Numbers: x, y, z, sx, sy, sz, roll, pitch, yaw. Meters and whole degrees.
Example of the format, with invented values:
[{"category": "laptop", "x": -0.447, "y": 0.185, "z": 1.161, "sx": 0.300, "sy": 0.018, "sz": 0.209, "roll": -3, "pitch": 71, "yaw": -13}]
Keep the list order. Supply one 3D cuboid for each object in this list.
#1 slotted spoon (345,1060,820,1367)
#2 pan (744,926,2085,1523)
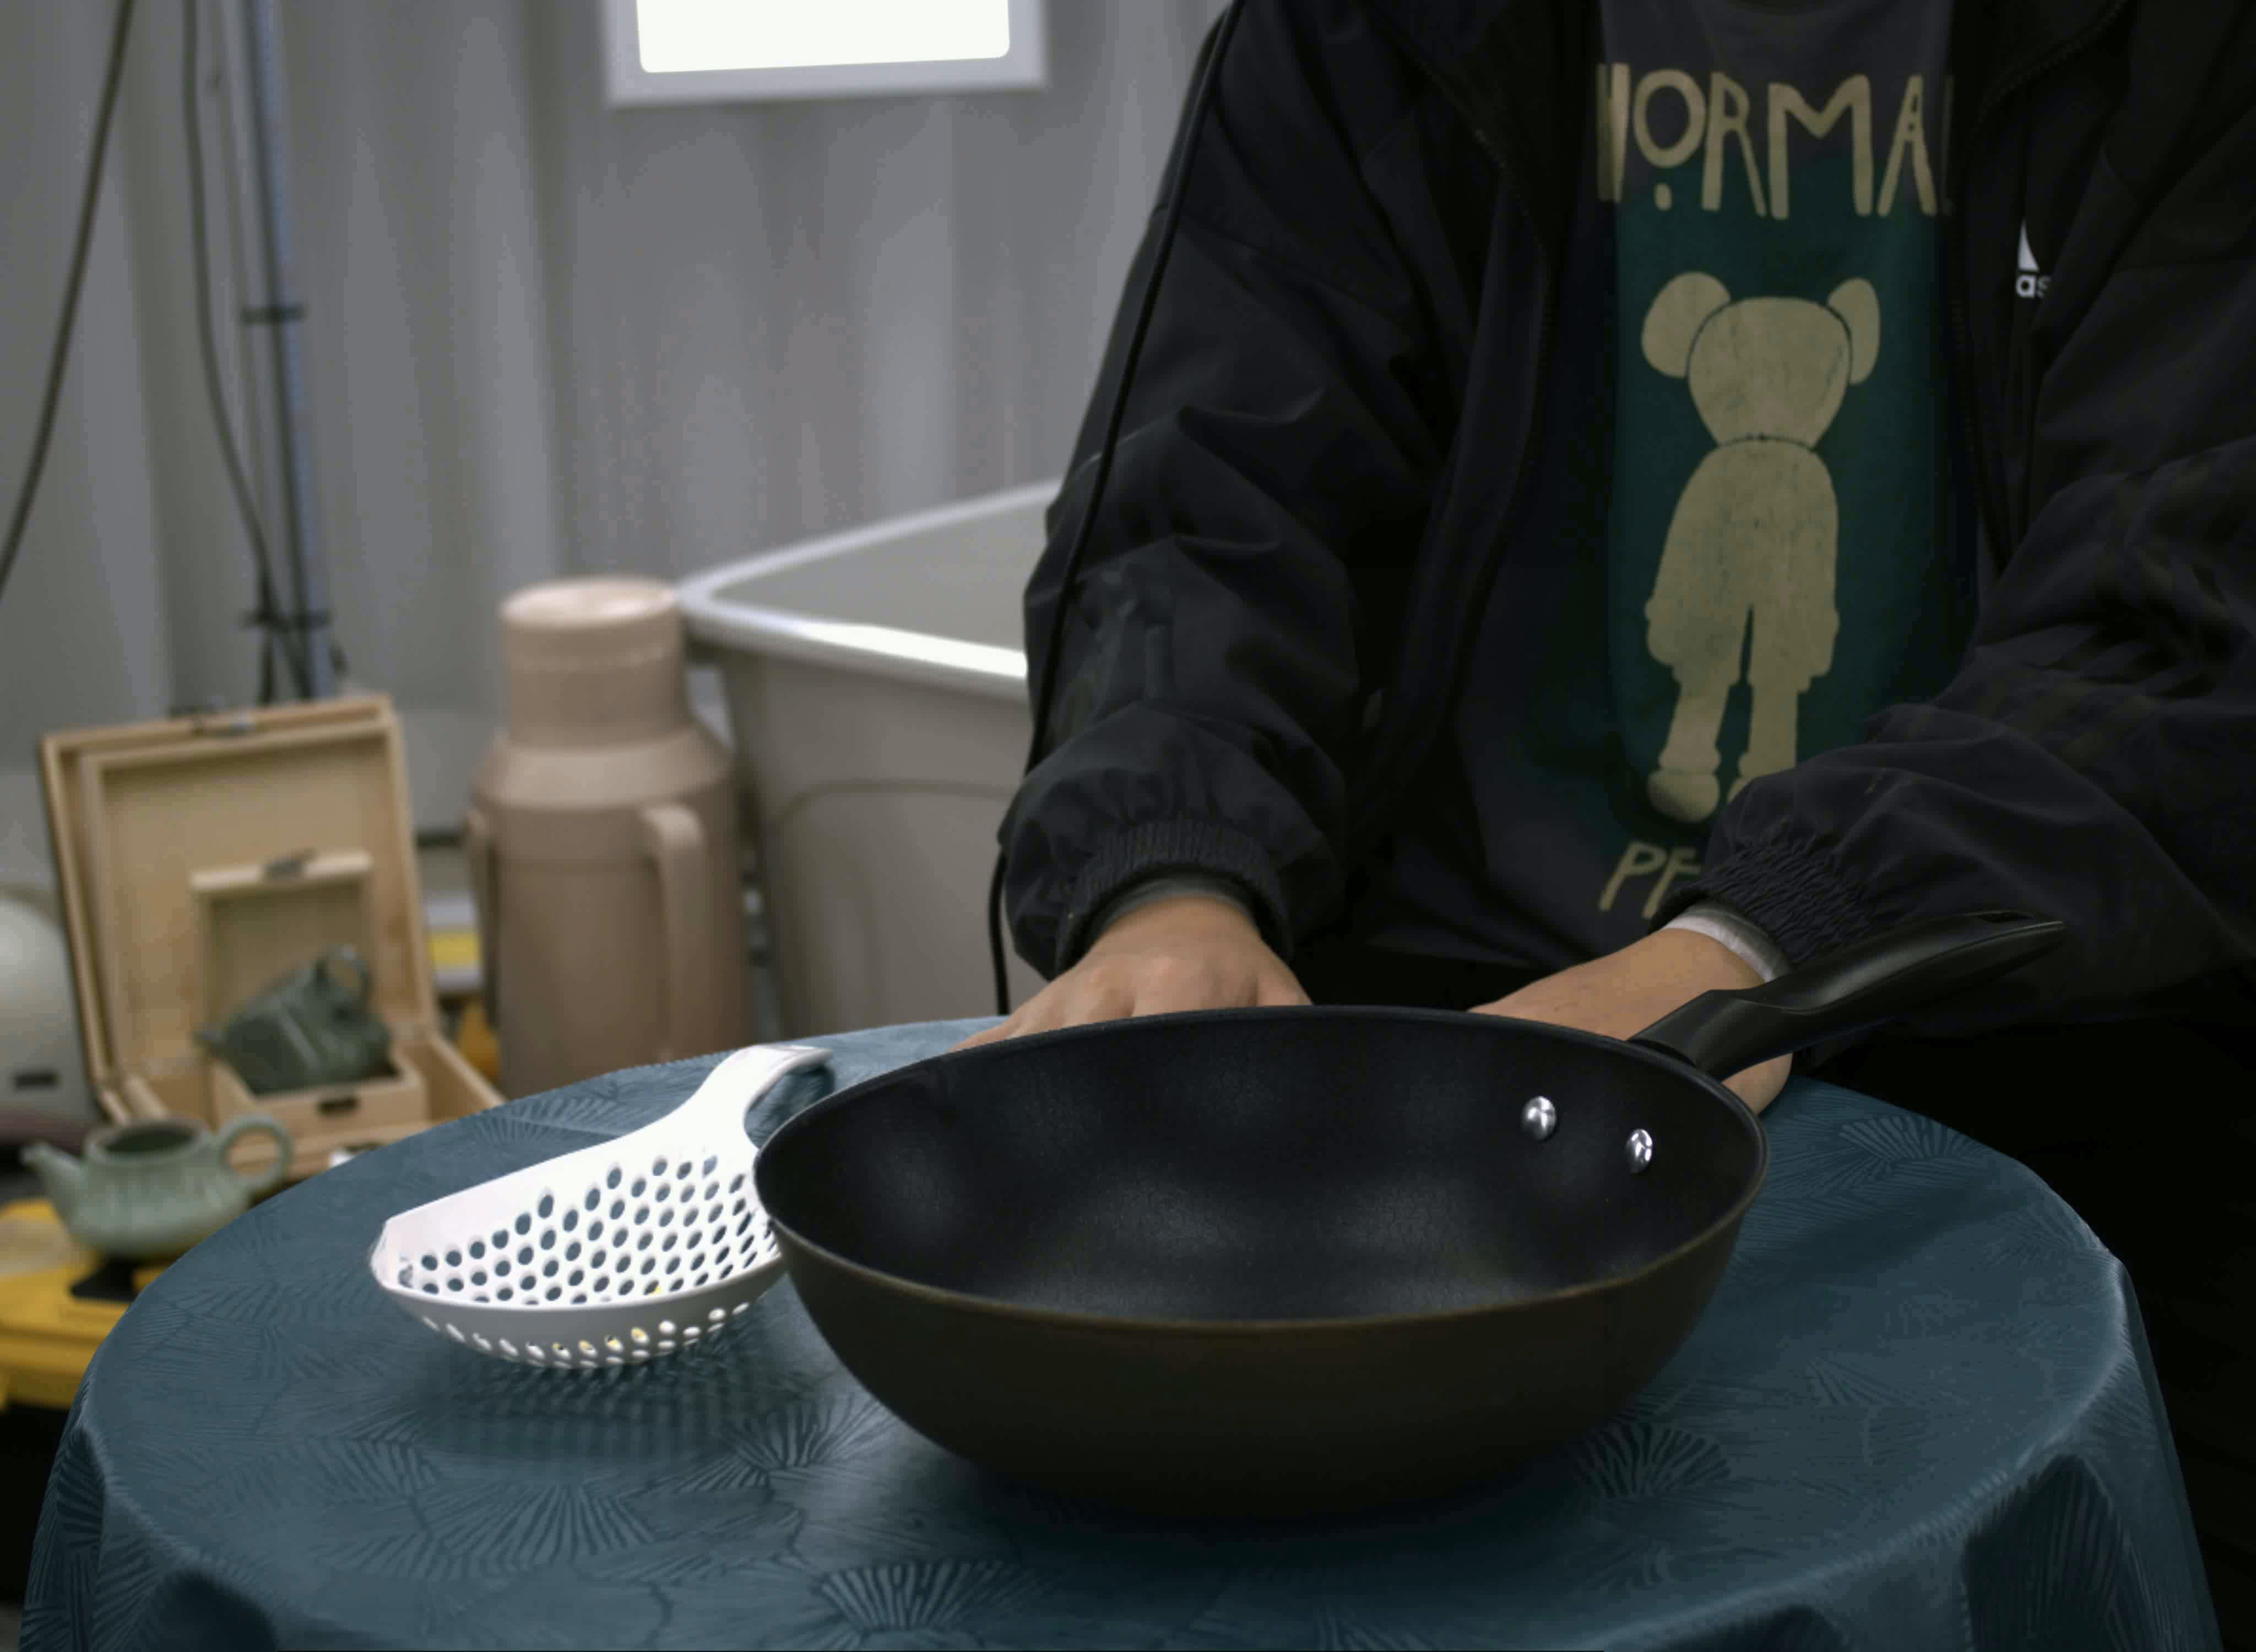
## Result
[{"category": "slotted spoon", "x": -0.135, "y": 0.106, "z": 1.693, "sx": 0.136, "sy": 0.050, "sz": 0.349, "roll": -2, "pitch": 15, "yaw": 11}, {"category": "pan", "x": 0.105, "y": 0.108, "z": 1.560, "sx": 0.462, "sy": 0.086, "sz": 0.290, "roll": -13, "pitch": 18, "yaw": -38}]
